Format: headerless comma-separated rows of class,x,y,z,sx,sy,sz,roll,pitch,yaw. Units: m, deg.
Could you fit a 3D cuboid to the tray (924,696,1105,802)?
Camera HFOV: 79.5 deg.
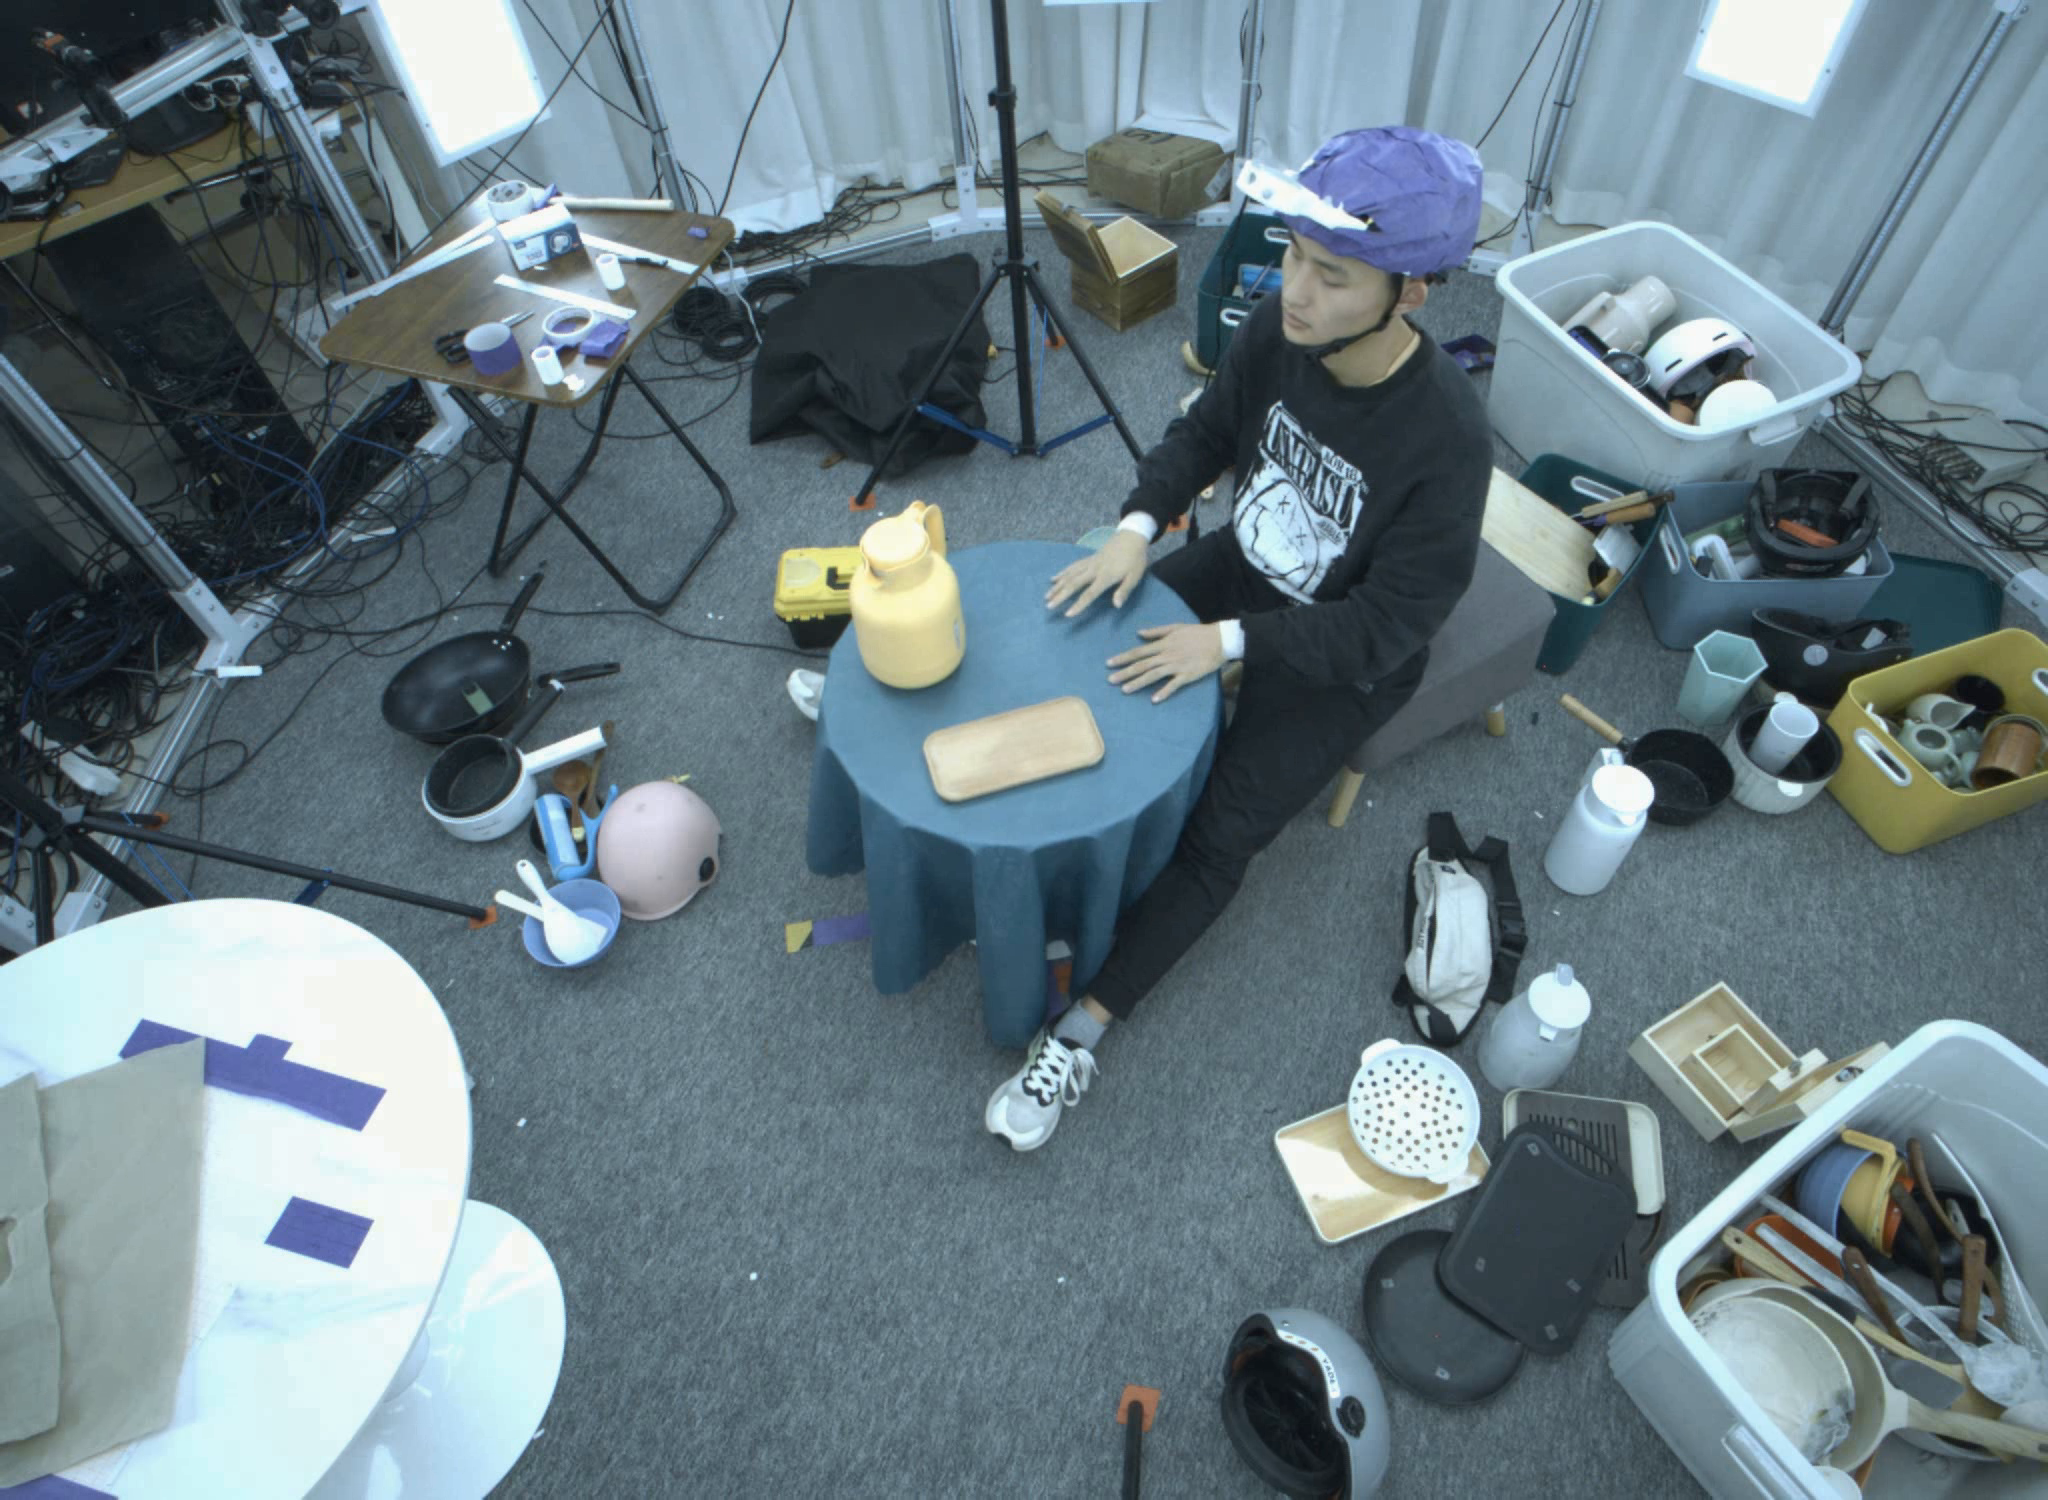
tray,-0.014,-0.001,1.774,0.252,0.023,0.128,-14,58,-9

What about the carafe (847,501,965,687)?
carafe,-0.167,-0.235,1.795,0.162,0.263,0.202,19,59,14
